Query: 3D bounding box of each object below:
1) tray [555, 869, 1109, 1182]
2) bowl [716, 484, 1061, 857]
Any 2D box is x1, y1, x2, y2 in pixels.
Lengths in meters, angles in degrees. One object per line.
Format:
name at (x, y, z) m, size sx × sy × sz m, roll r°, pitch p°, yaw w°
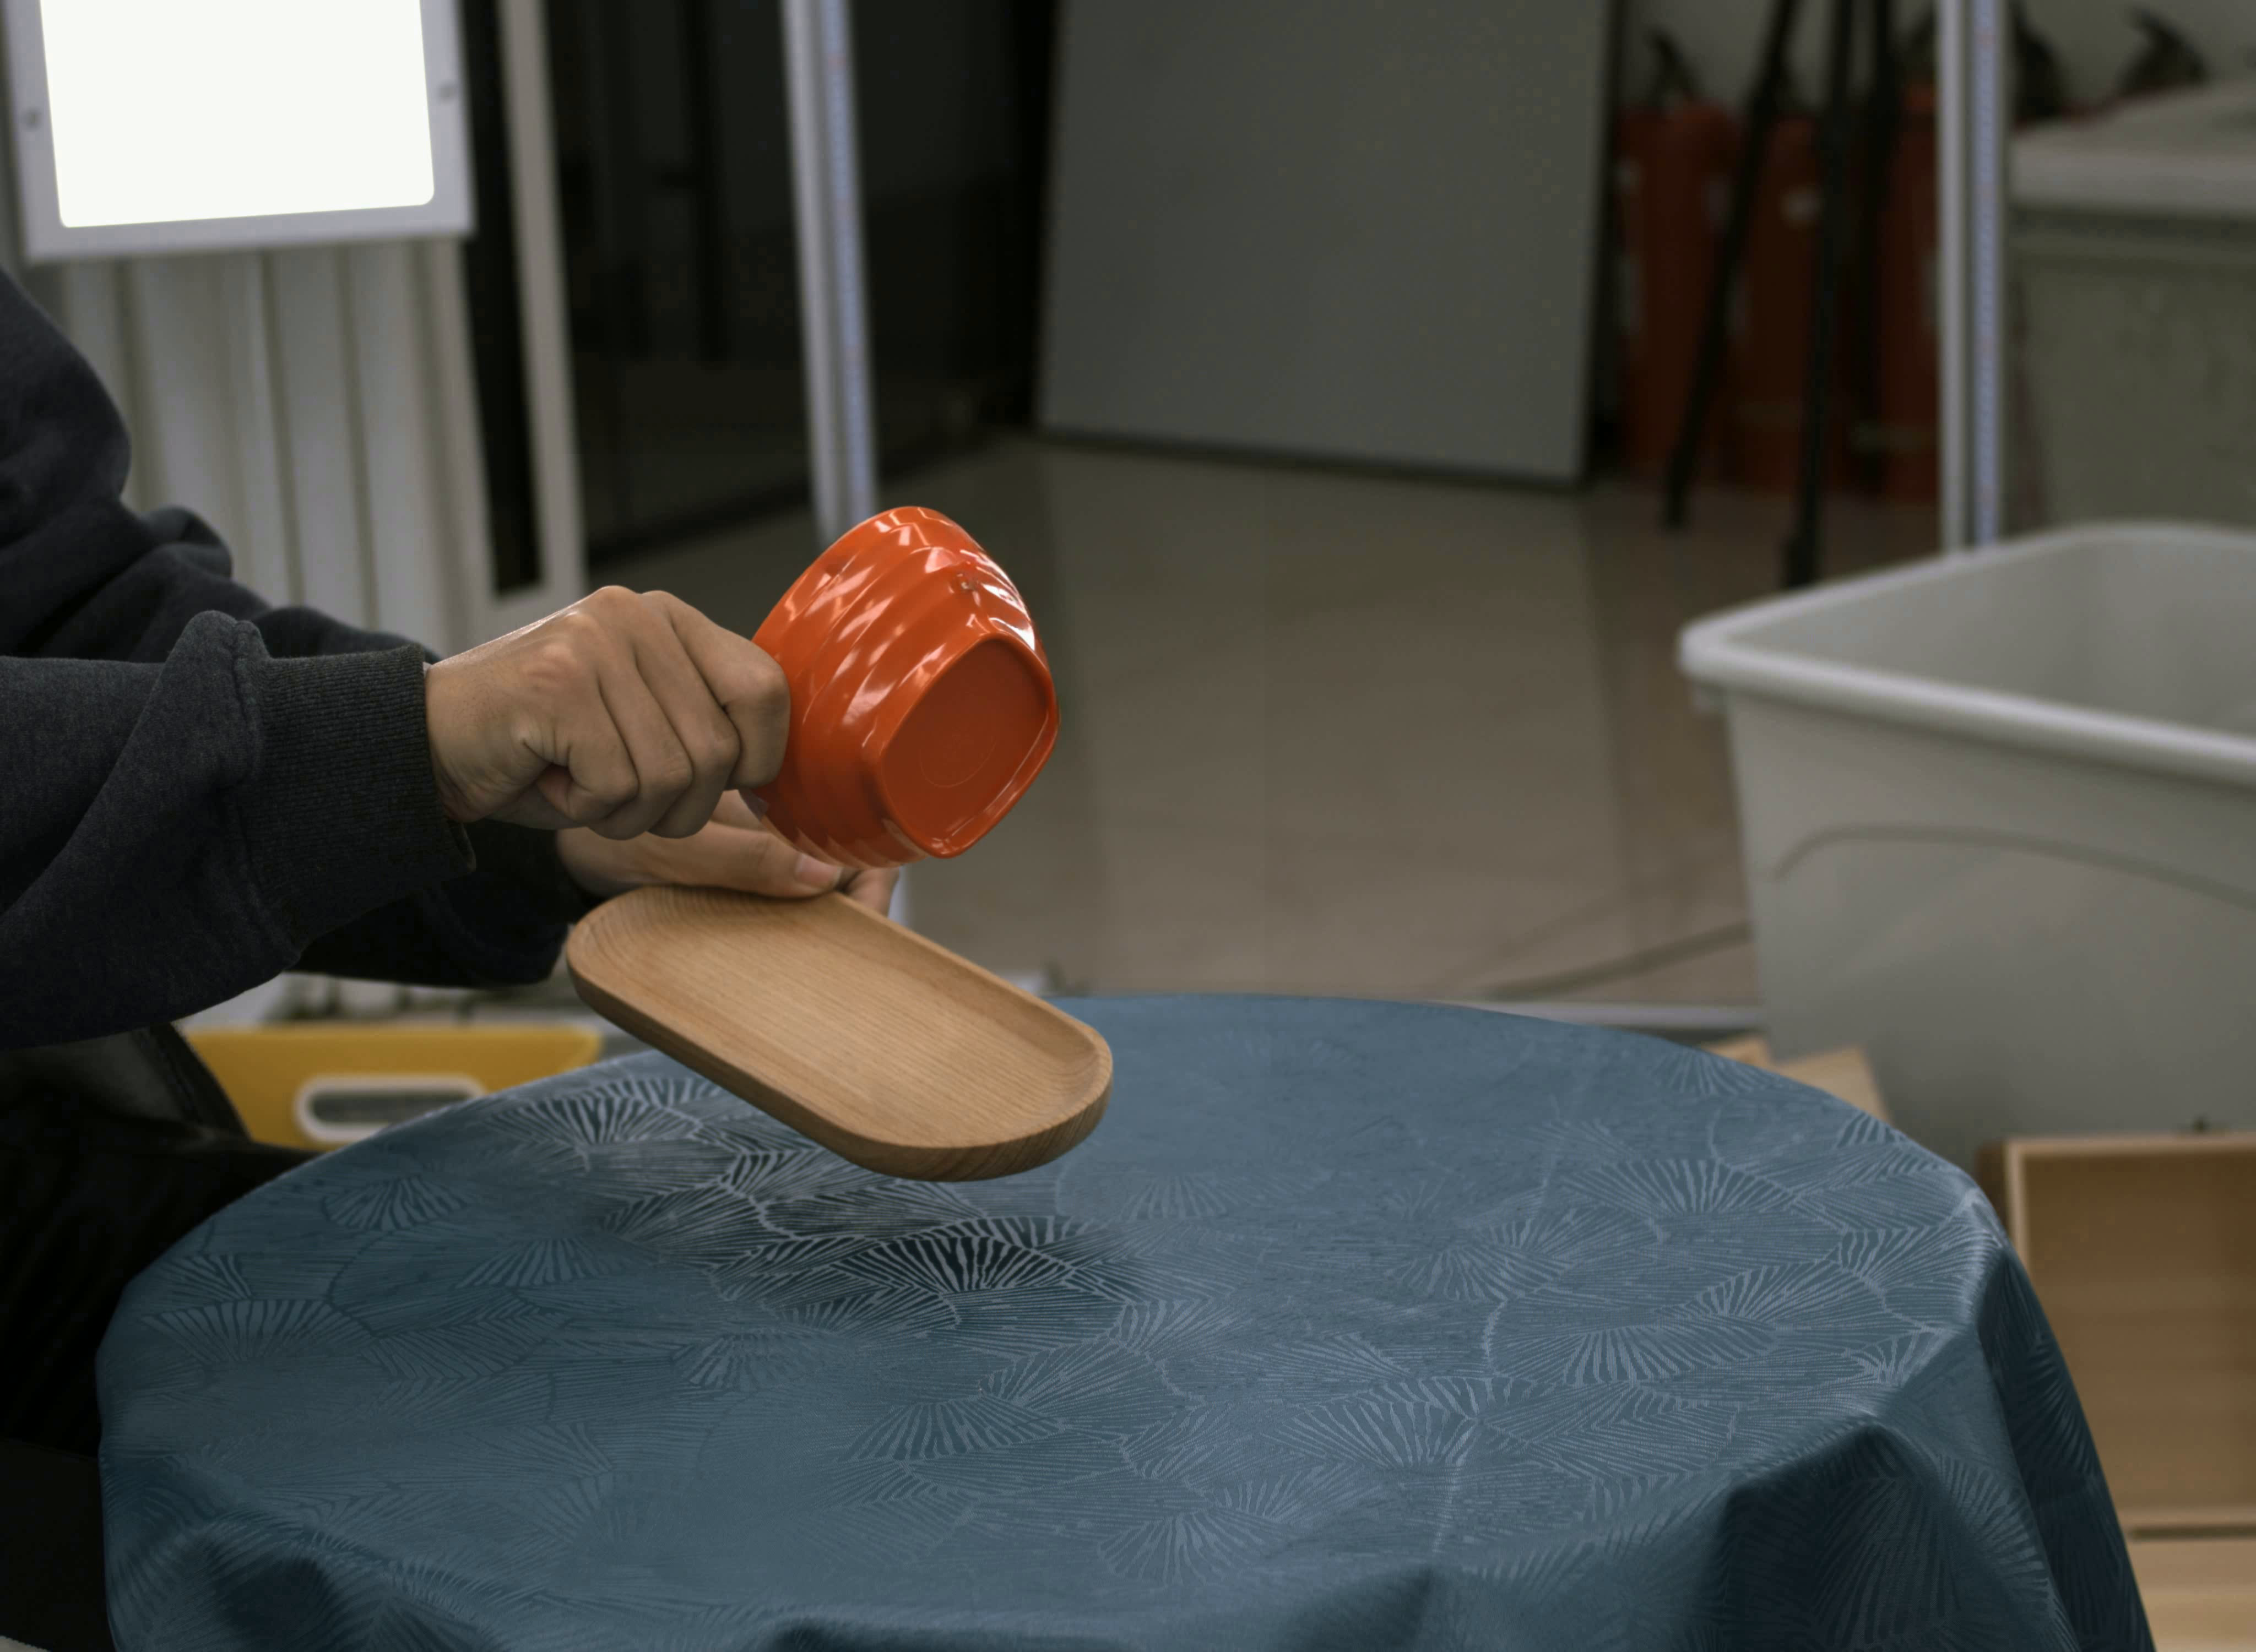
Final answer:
tray at (-0.098, 0.063, 1.757) m, size 0.100 × 0.020 × 0.233 m, roll -22°, pitch 30°, yaw -35°
bowl at (-0.064, -0.038, 1.630) m, size 0.116 × 0.120 × 0.052 m, roll -15°, pitch 36°, yaw -41°
